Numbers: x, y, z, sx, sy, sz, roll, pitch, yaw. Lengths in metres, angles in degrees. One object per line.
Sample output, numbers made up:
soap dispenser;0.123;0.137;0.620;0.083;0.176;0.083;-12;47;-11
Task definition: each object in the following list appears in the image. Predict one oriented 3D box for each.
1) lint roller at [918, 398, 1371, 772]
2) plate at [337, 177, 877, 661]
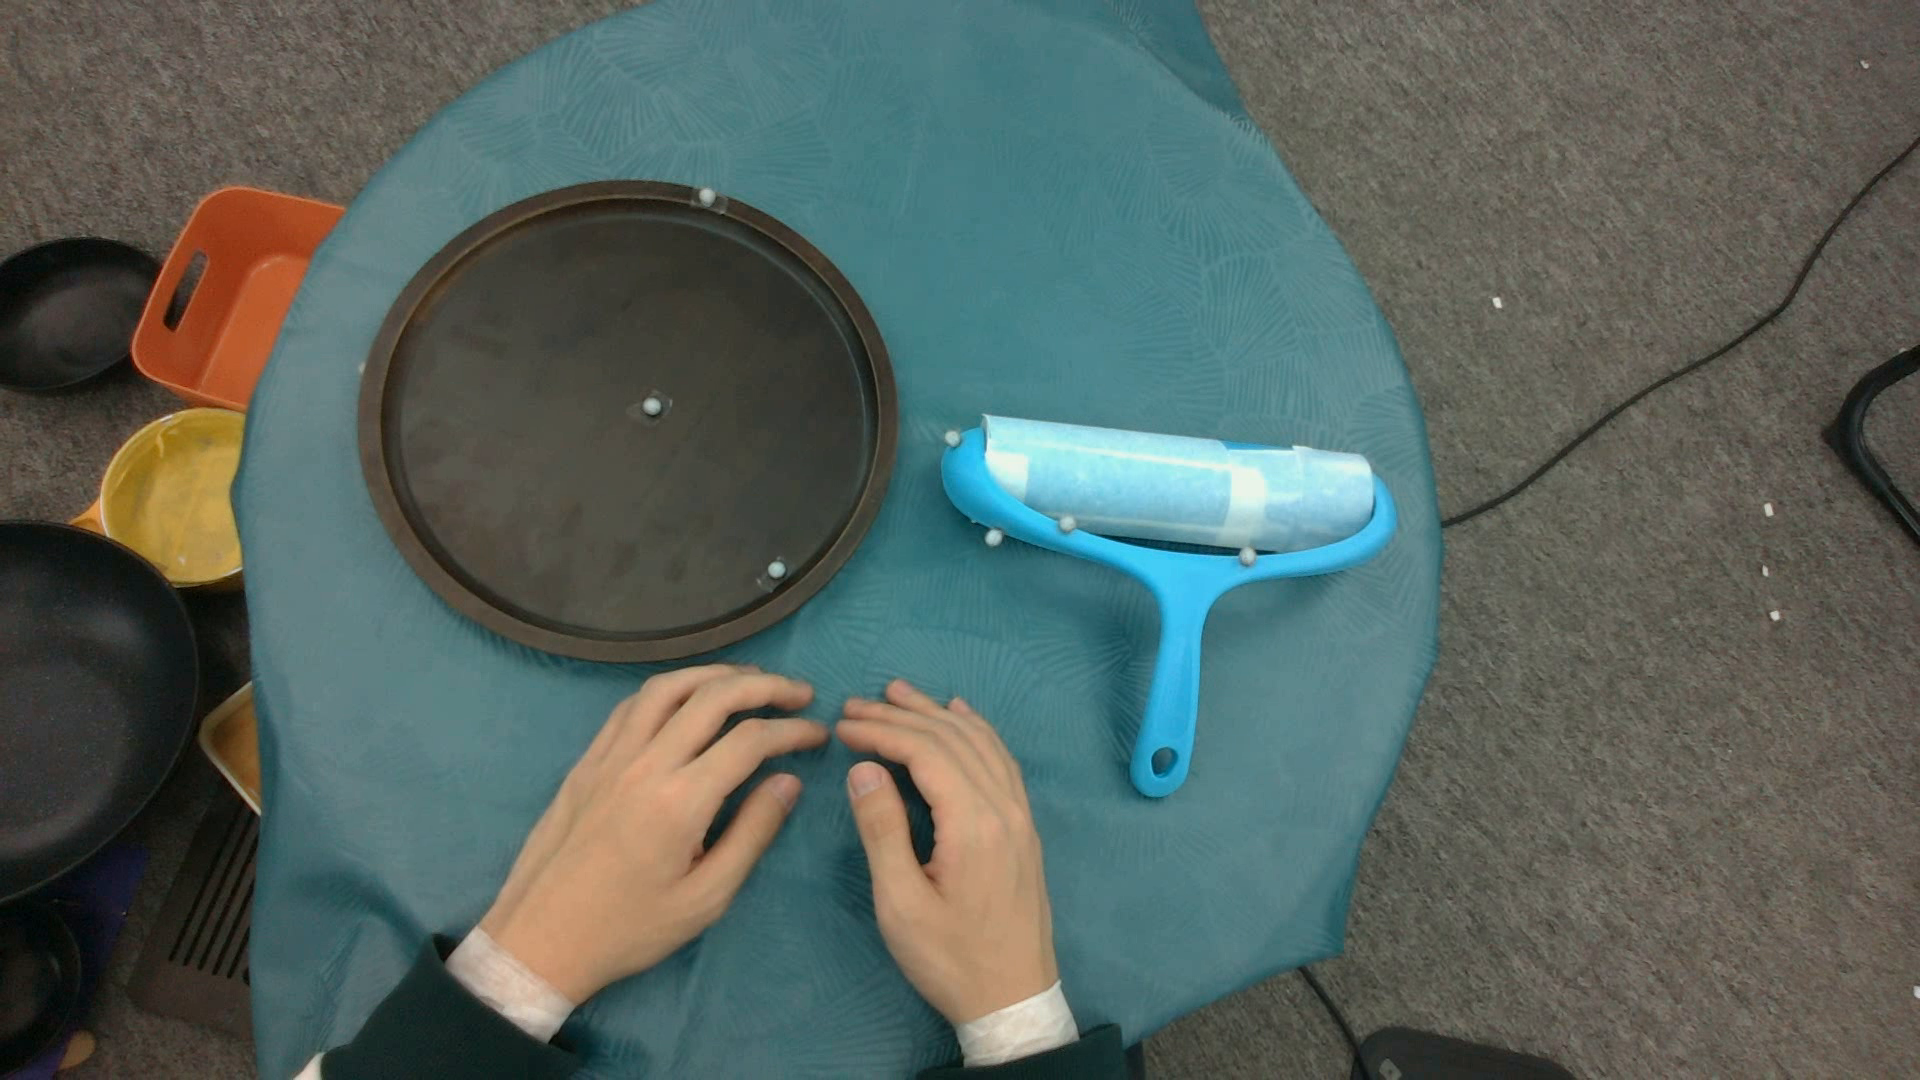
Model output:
lint roller;0.095;0.017;0.668;0.229;0.067;0.181;1;70;-10
plate;-0.168;-0.063;0.672;0.255;0.029;0.255;3;70;-8
